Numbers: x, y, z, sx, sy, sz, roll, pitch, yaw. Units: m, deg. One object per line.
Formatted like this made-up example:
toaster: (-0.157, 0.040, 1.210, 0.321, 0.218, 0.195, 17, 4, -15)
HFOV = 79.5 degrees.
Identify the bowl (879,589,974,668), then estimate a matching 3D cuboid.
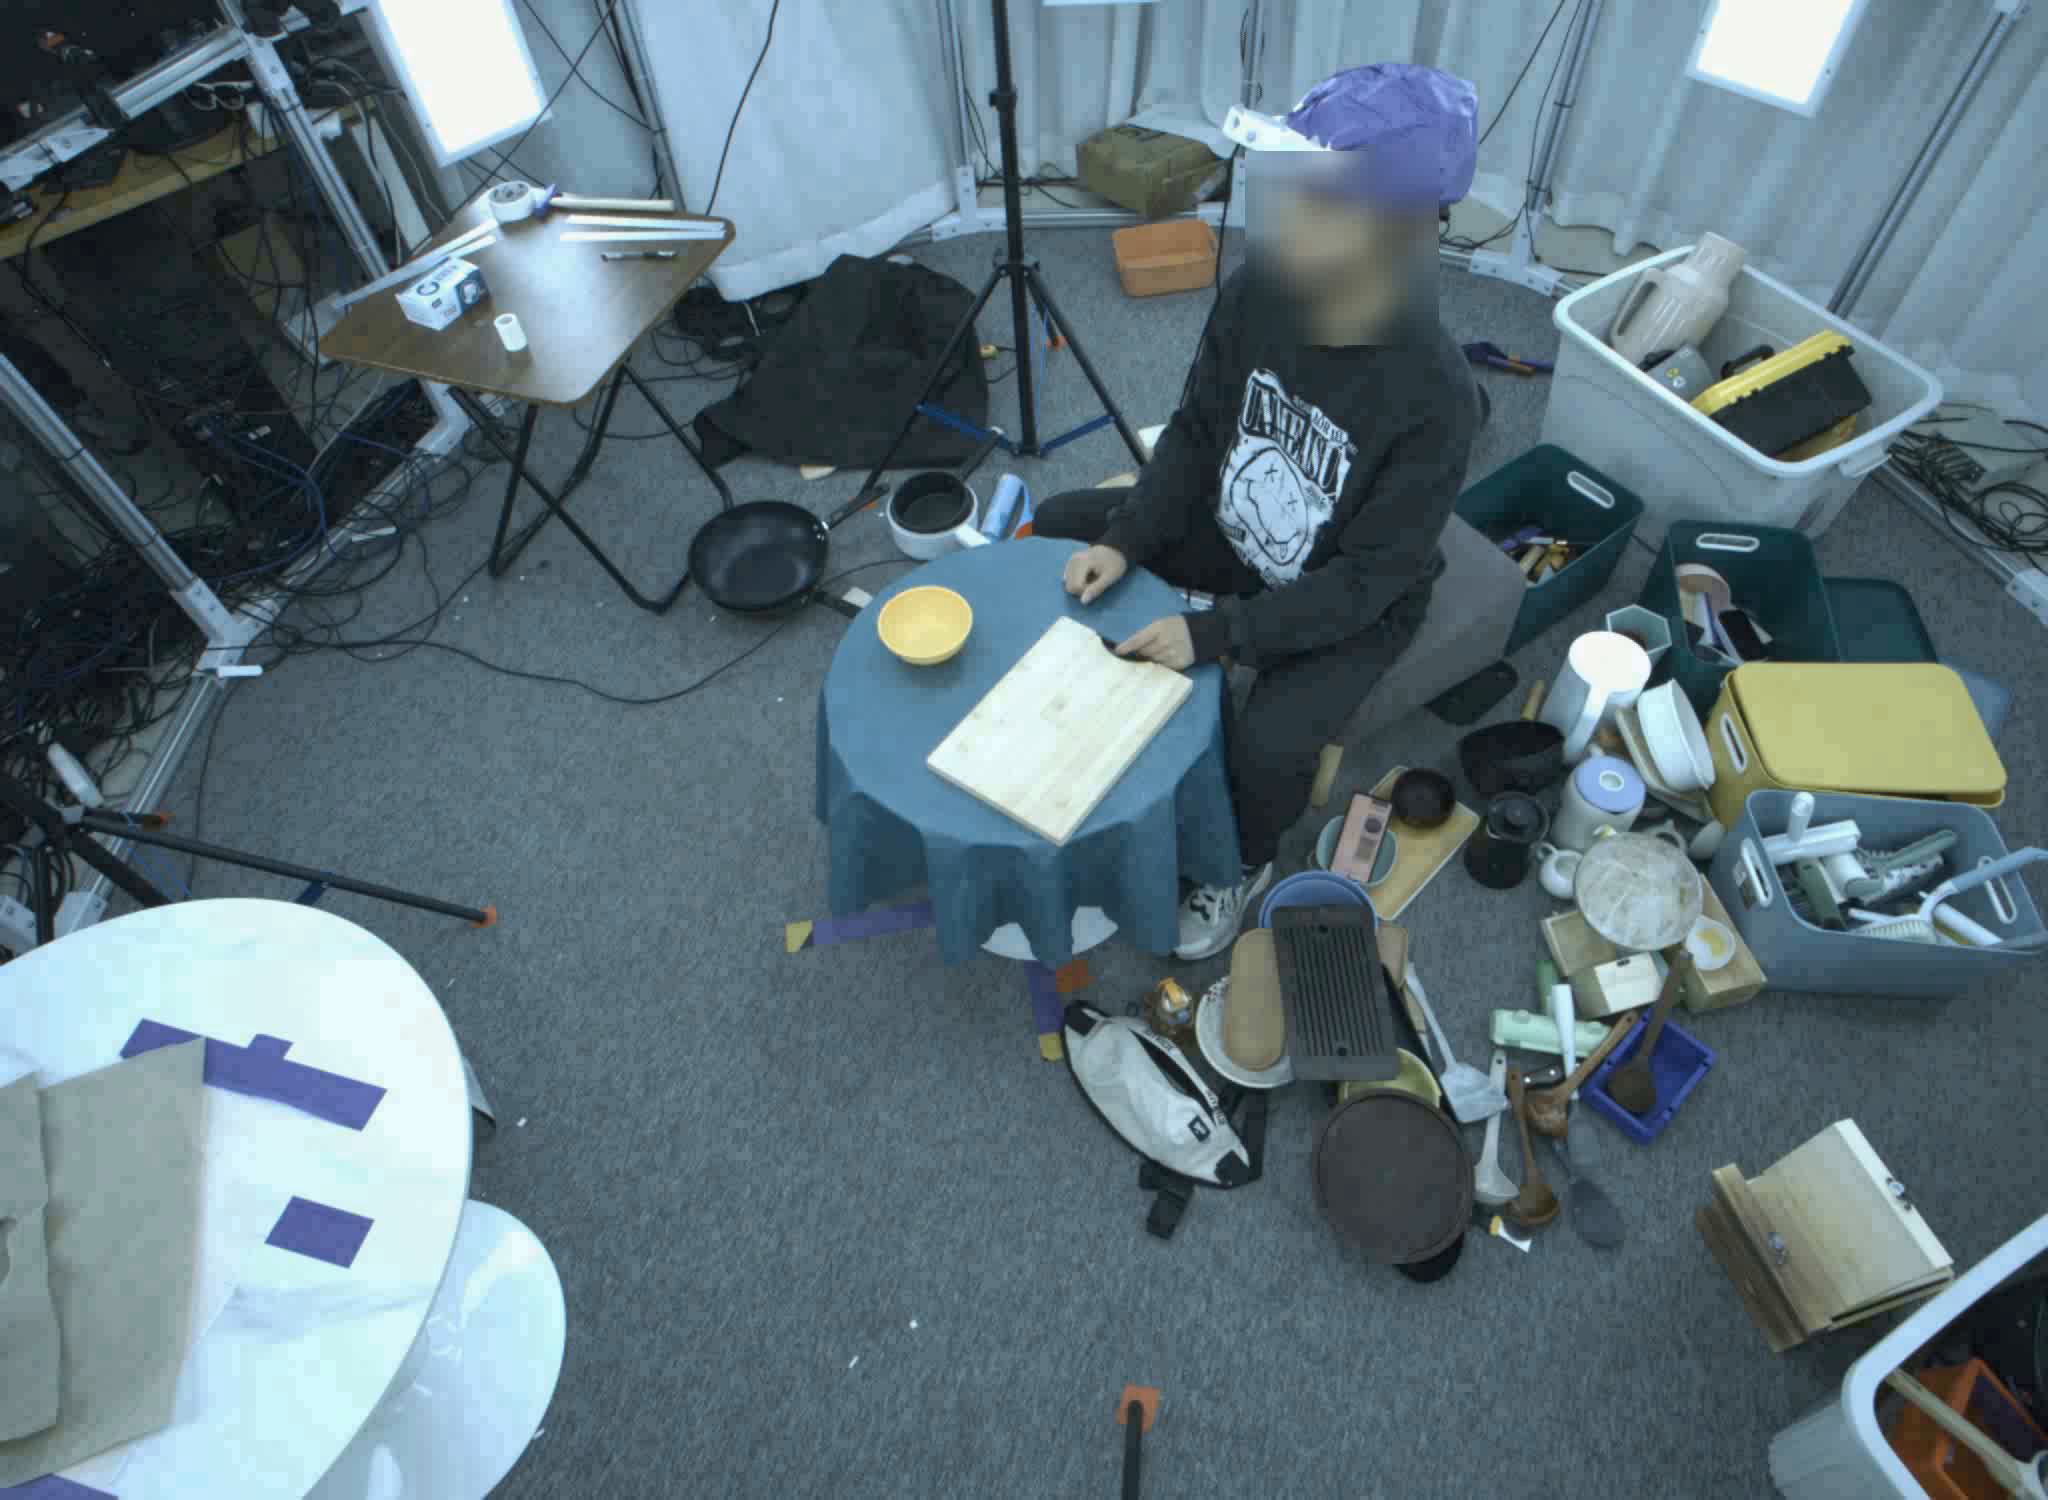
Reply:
bowl: (-0.149, -0.175, 1.891, 0.145, 0.060, 0.144, 1, 56, 0)

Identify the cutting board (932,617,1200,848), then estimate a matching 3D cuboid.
cutting board: (0.063, -0.037, 1.812, 0.247, 0.024, 0.350, 29, 61, 20)
